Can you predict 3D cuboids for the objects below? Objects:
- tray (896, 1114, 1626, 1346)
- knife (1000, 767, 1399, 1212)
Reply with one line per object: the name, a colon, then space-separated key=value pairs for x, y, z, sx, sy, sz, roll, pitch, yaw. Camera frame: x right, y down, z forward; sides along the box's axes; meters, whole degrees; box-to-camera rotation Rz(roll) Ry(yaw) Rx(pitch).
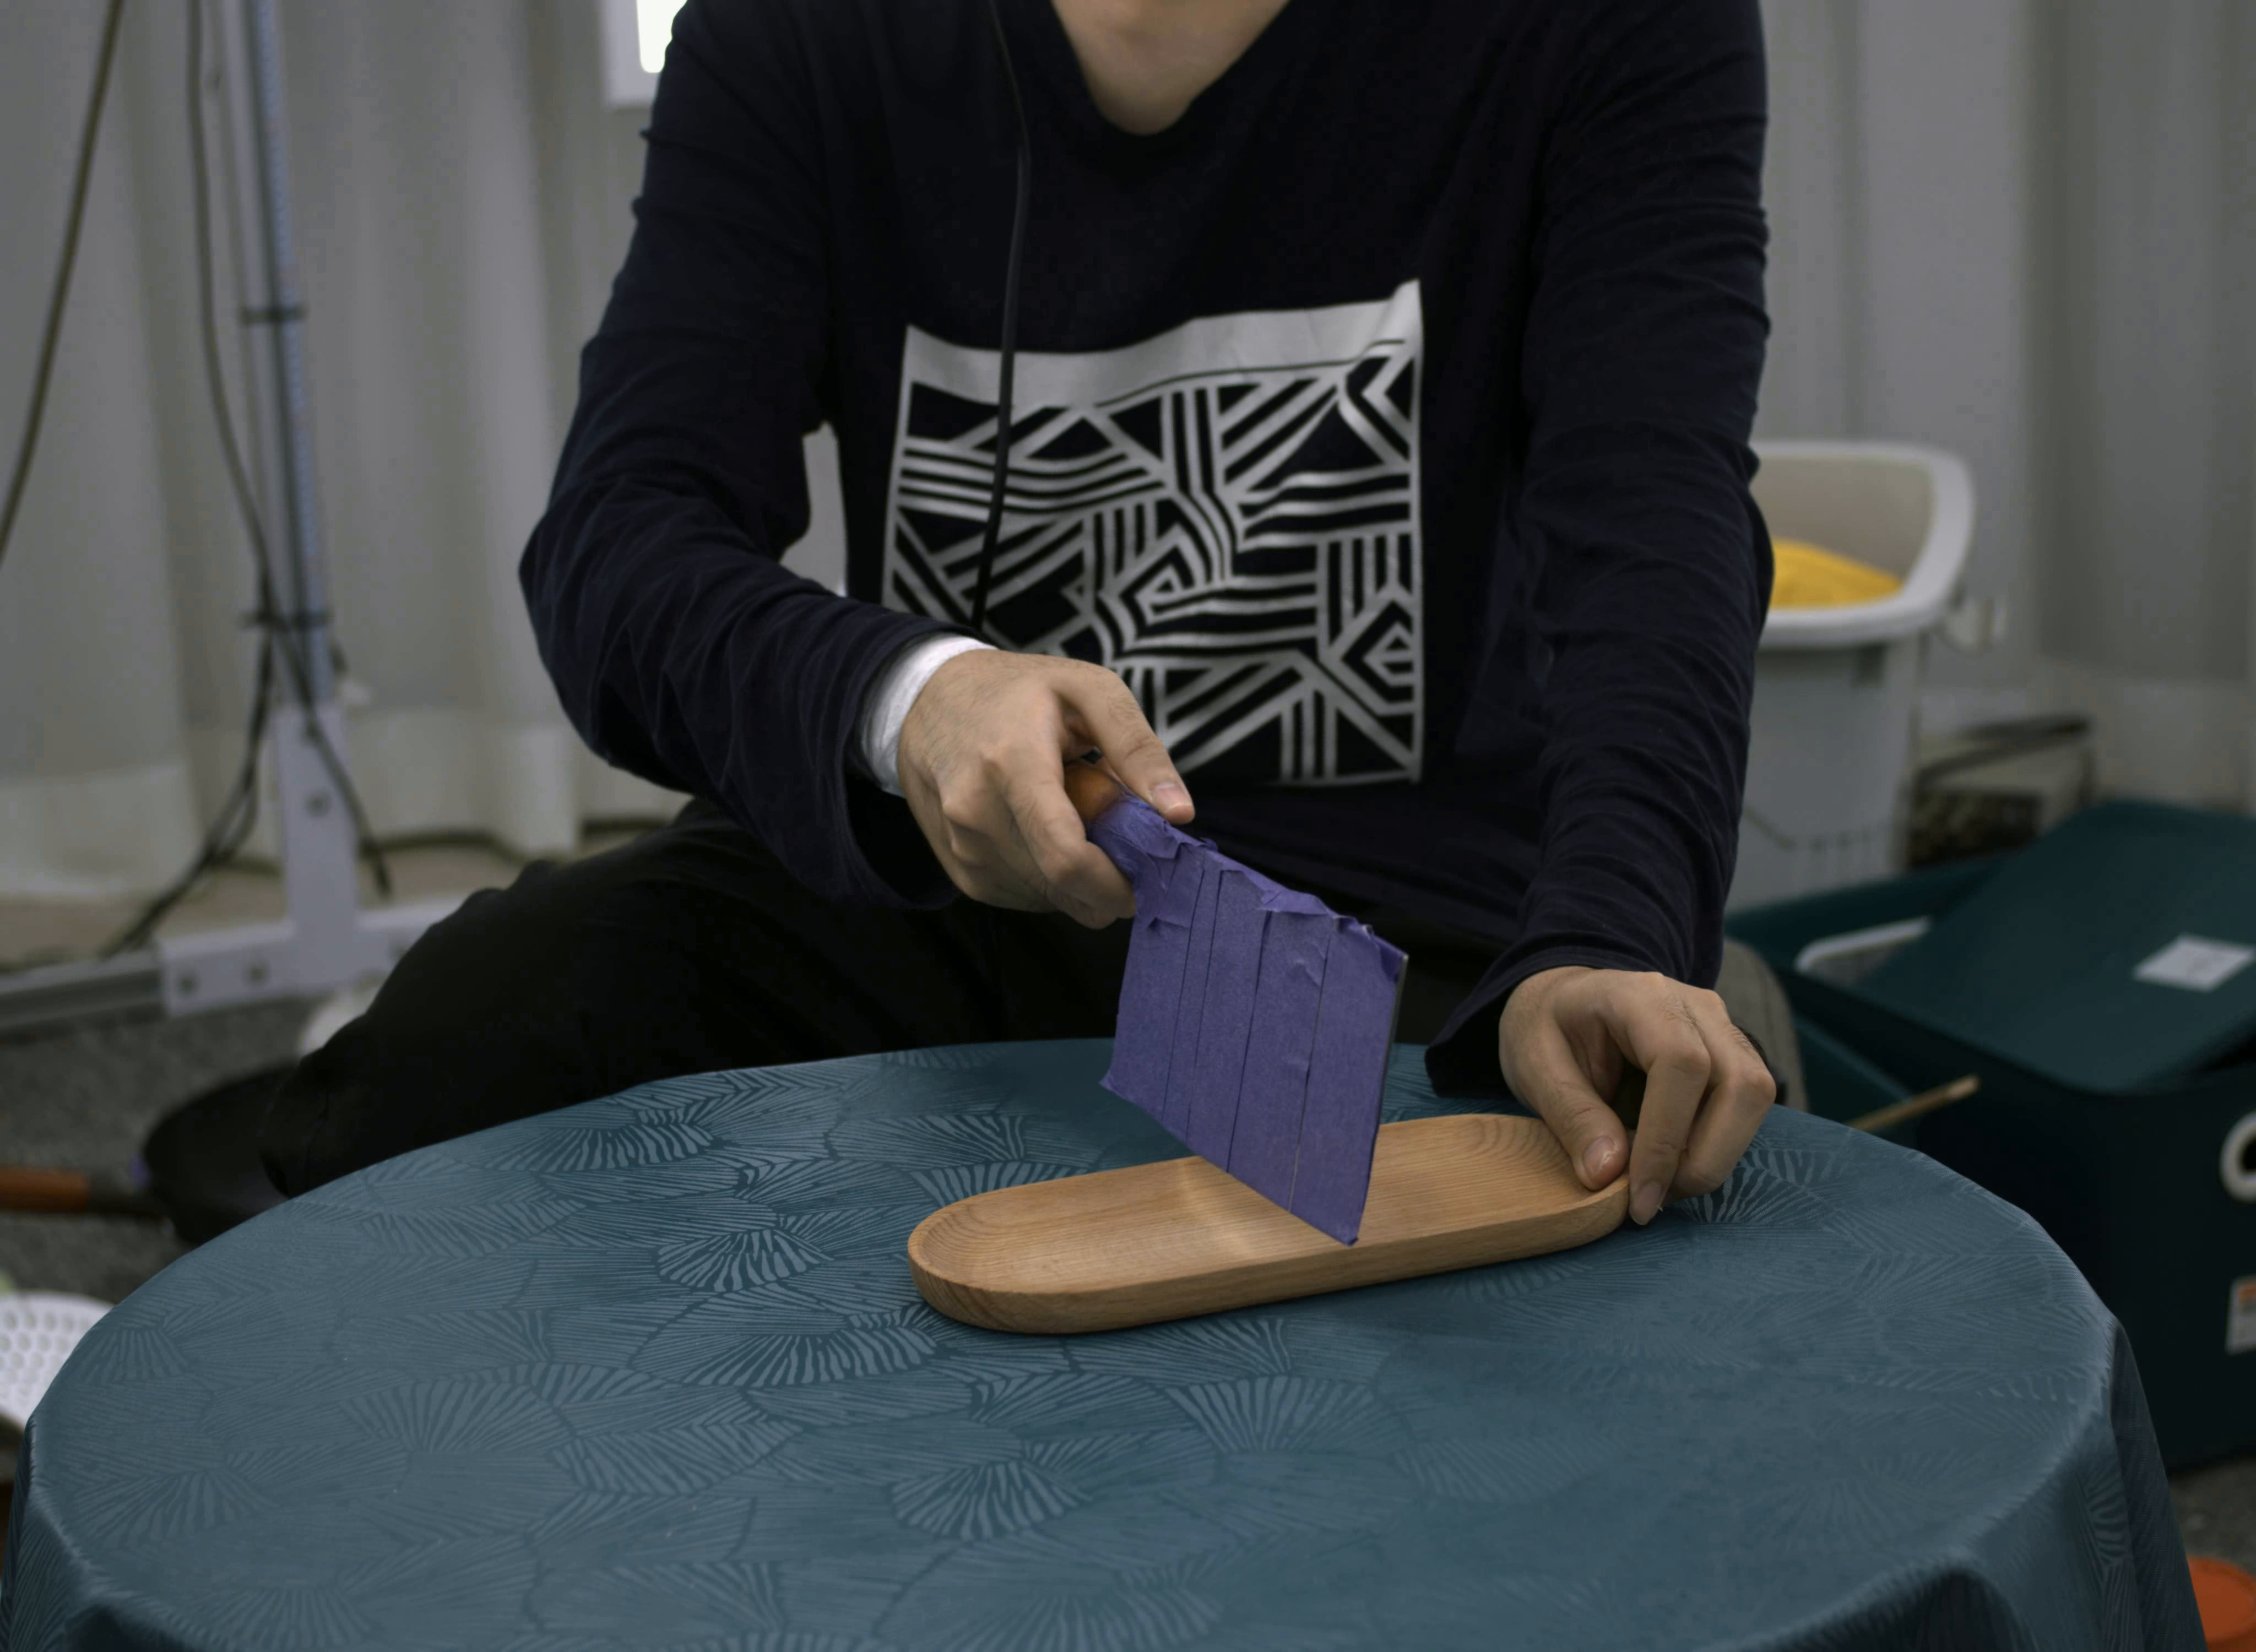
tray: x=0.042 y=0.122 z=1.654 sx=0.230 sy=0.020 sz=0.102 roll=-11 pitch=15 yaw=-20
knife: x=0.014 y=0.048 z=1.701 sx=0.032 sy=0.104 sz=0.317 roll=9 pitch=7 yaw=-20
